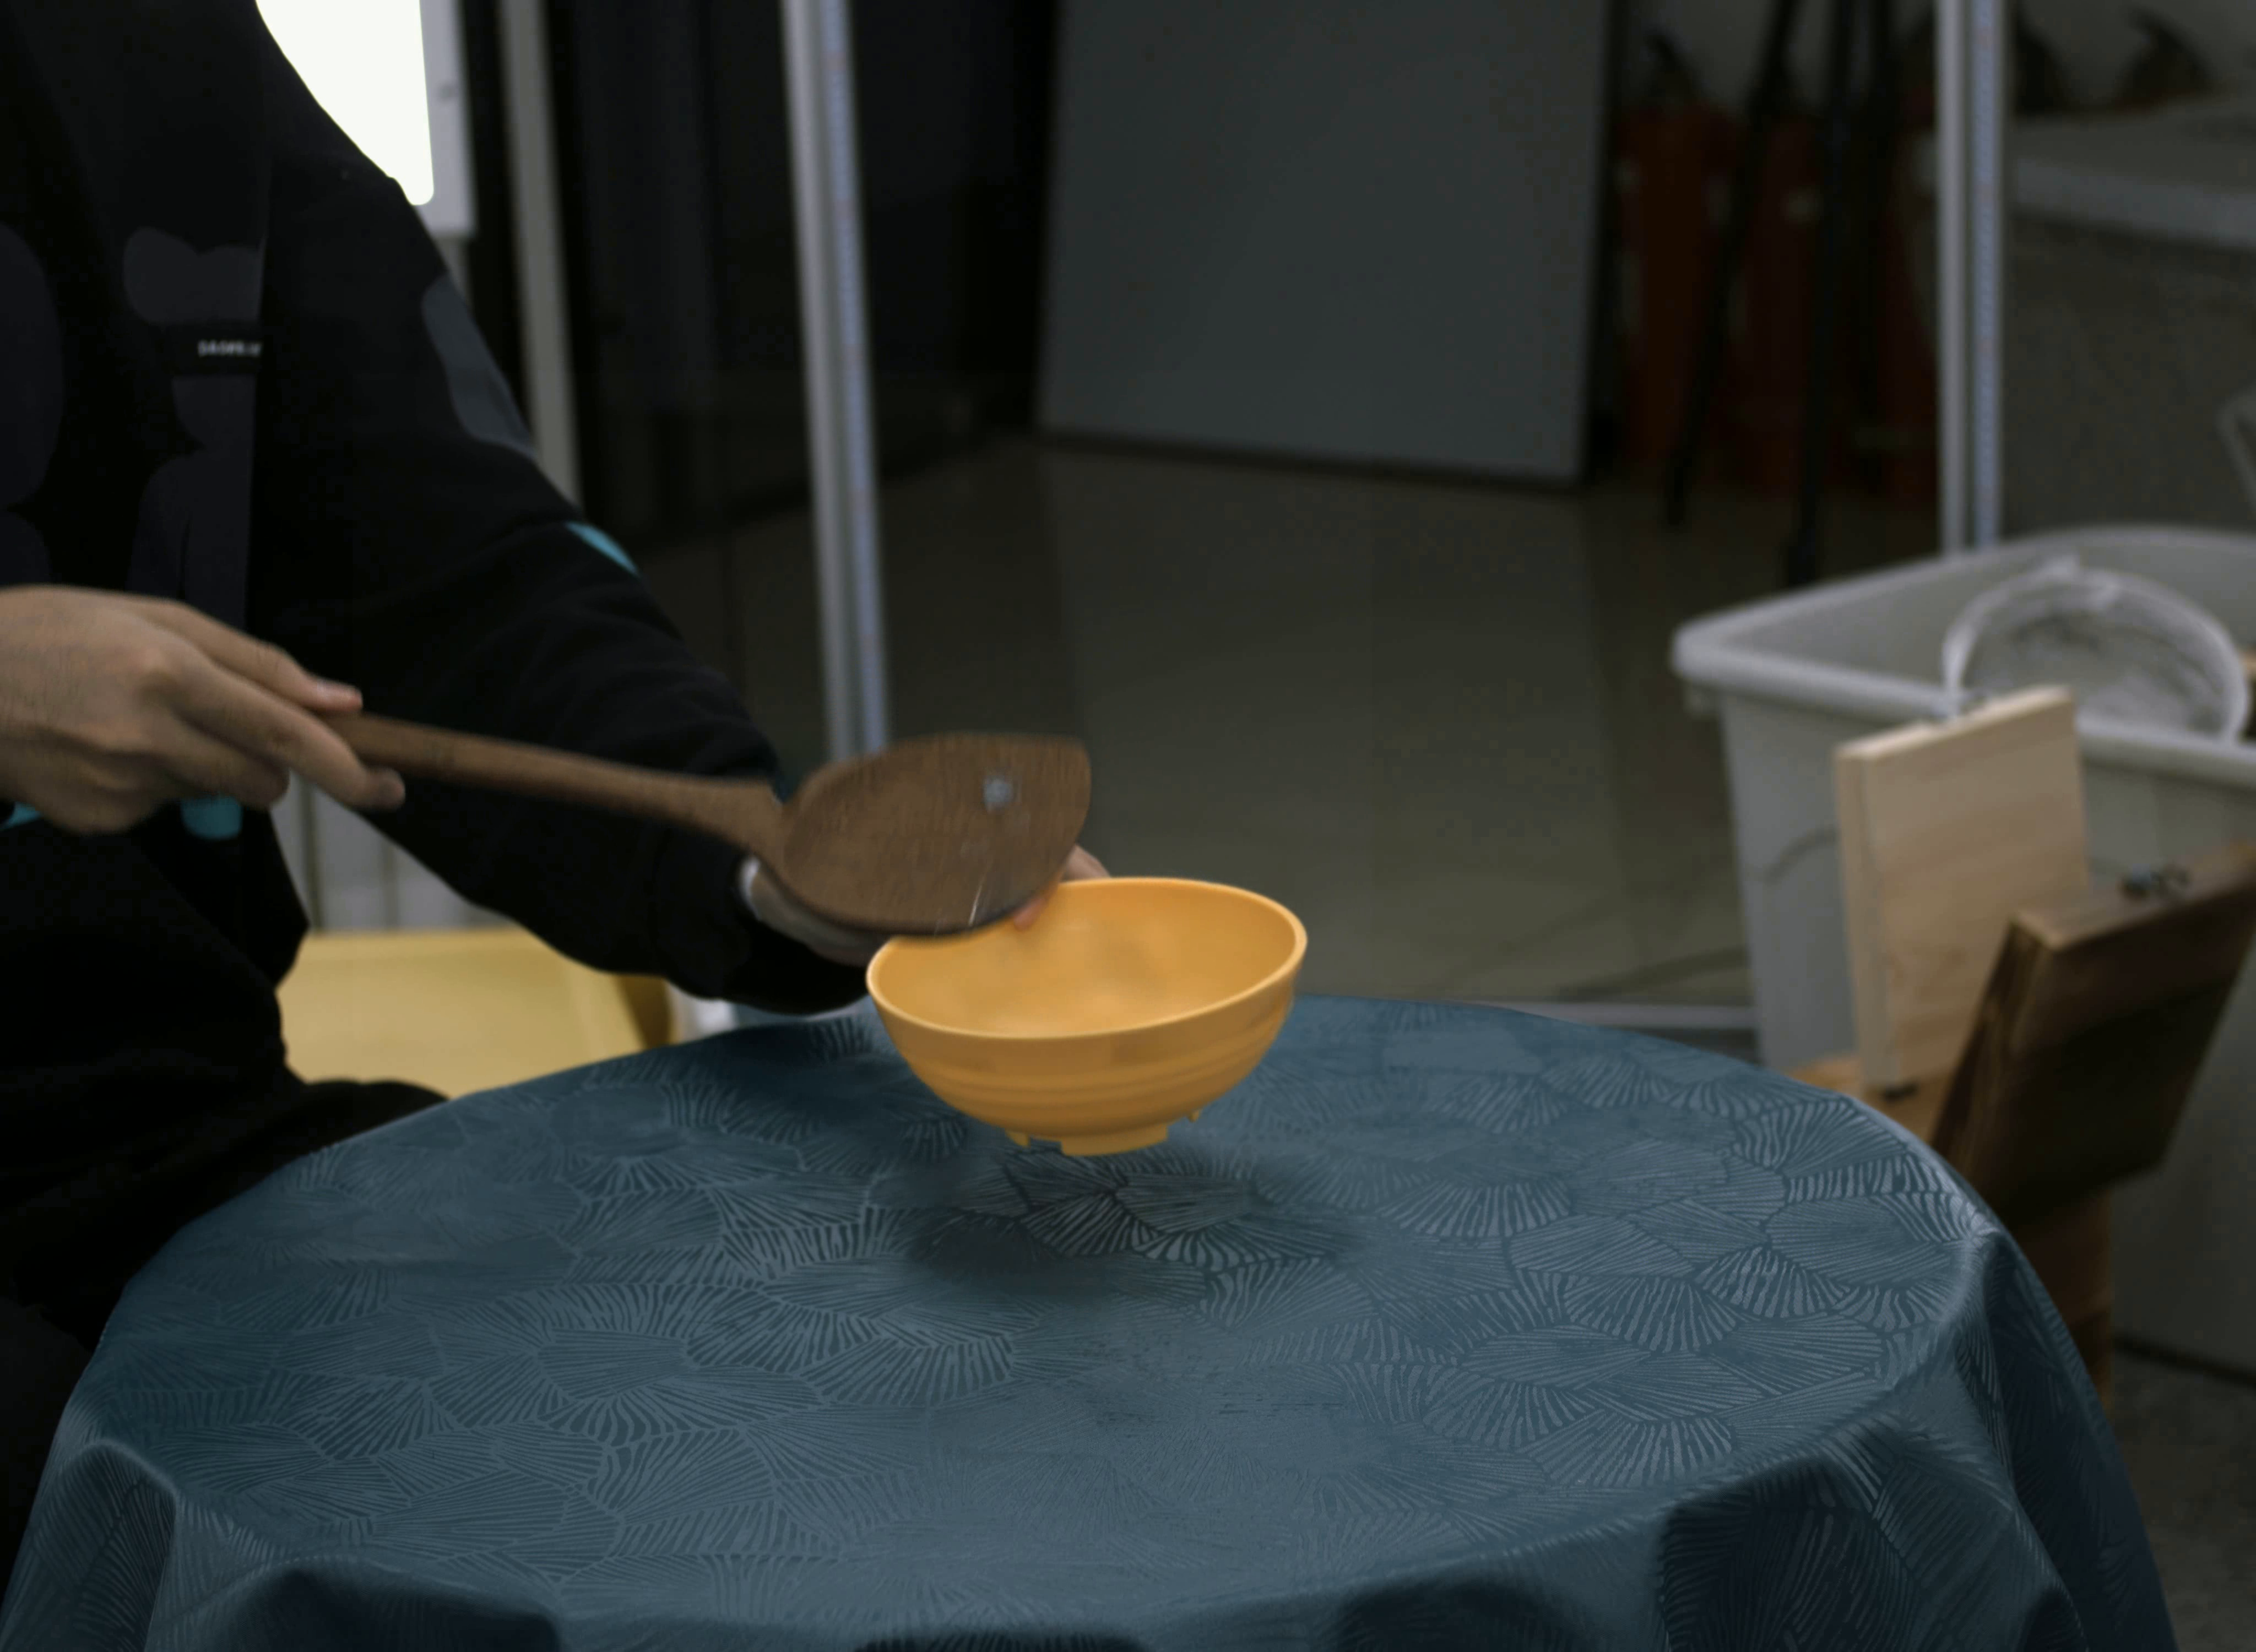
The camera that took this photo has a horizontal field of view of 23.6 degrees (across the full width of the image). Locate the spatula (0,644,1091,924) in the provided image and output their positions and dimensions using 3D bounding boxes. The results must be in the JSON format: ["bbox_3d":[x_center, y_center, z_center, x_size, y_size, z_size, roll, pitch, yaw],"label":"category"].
[{"bbox_3d":[-0.195,-0.022,1.685,0.385,0.016,0.096,9,42,20],"label":"spatula"}]

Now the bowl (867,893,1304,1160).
[{"bbox_3d":[-0.012,0.070,1.756,0.143,0.061,0.145,-4,16,0],"label":"bowl"}]
